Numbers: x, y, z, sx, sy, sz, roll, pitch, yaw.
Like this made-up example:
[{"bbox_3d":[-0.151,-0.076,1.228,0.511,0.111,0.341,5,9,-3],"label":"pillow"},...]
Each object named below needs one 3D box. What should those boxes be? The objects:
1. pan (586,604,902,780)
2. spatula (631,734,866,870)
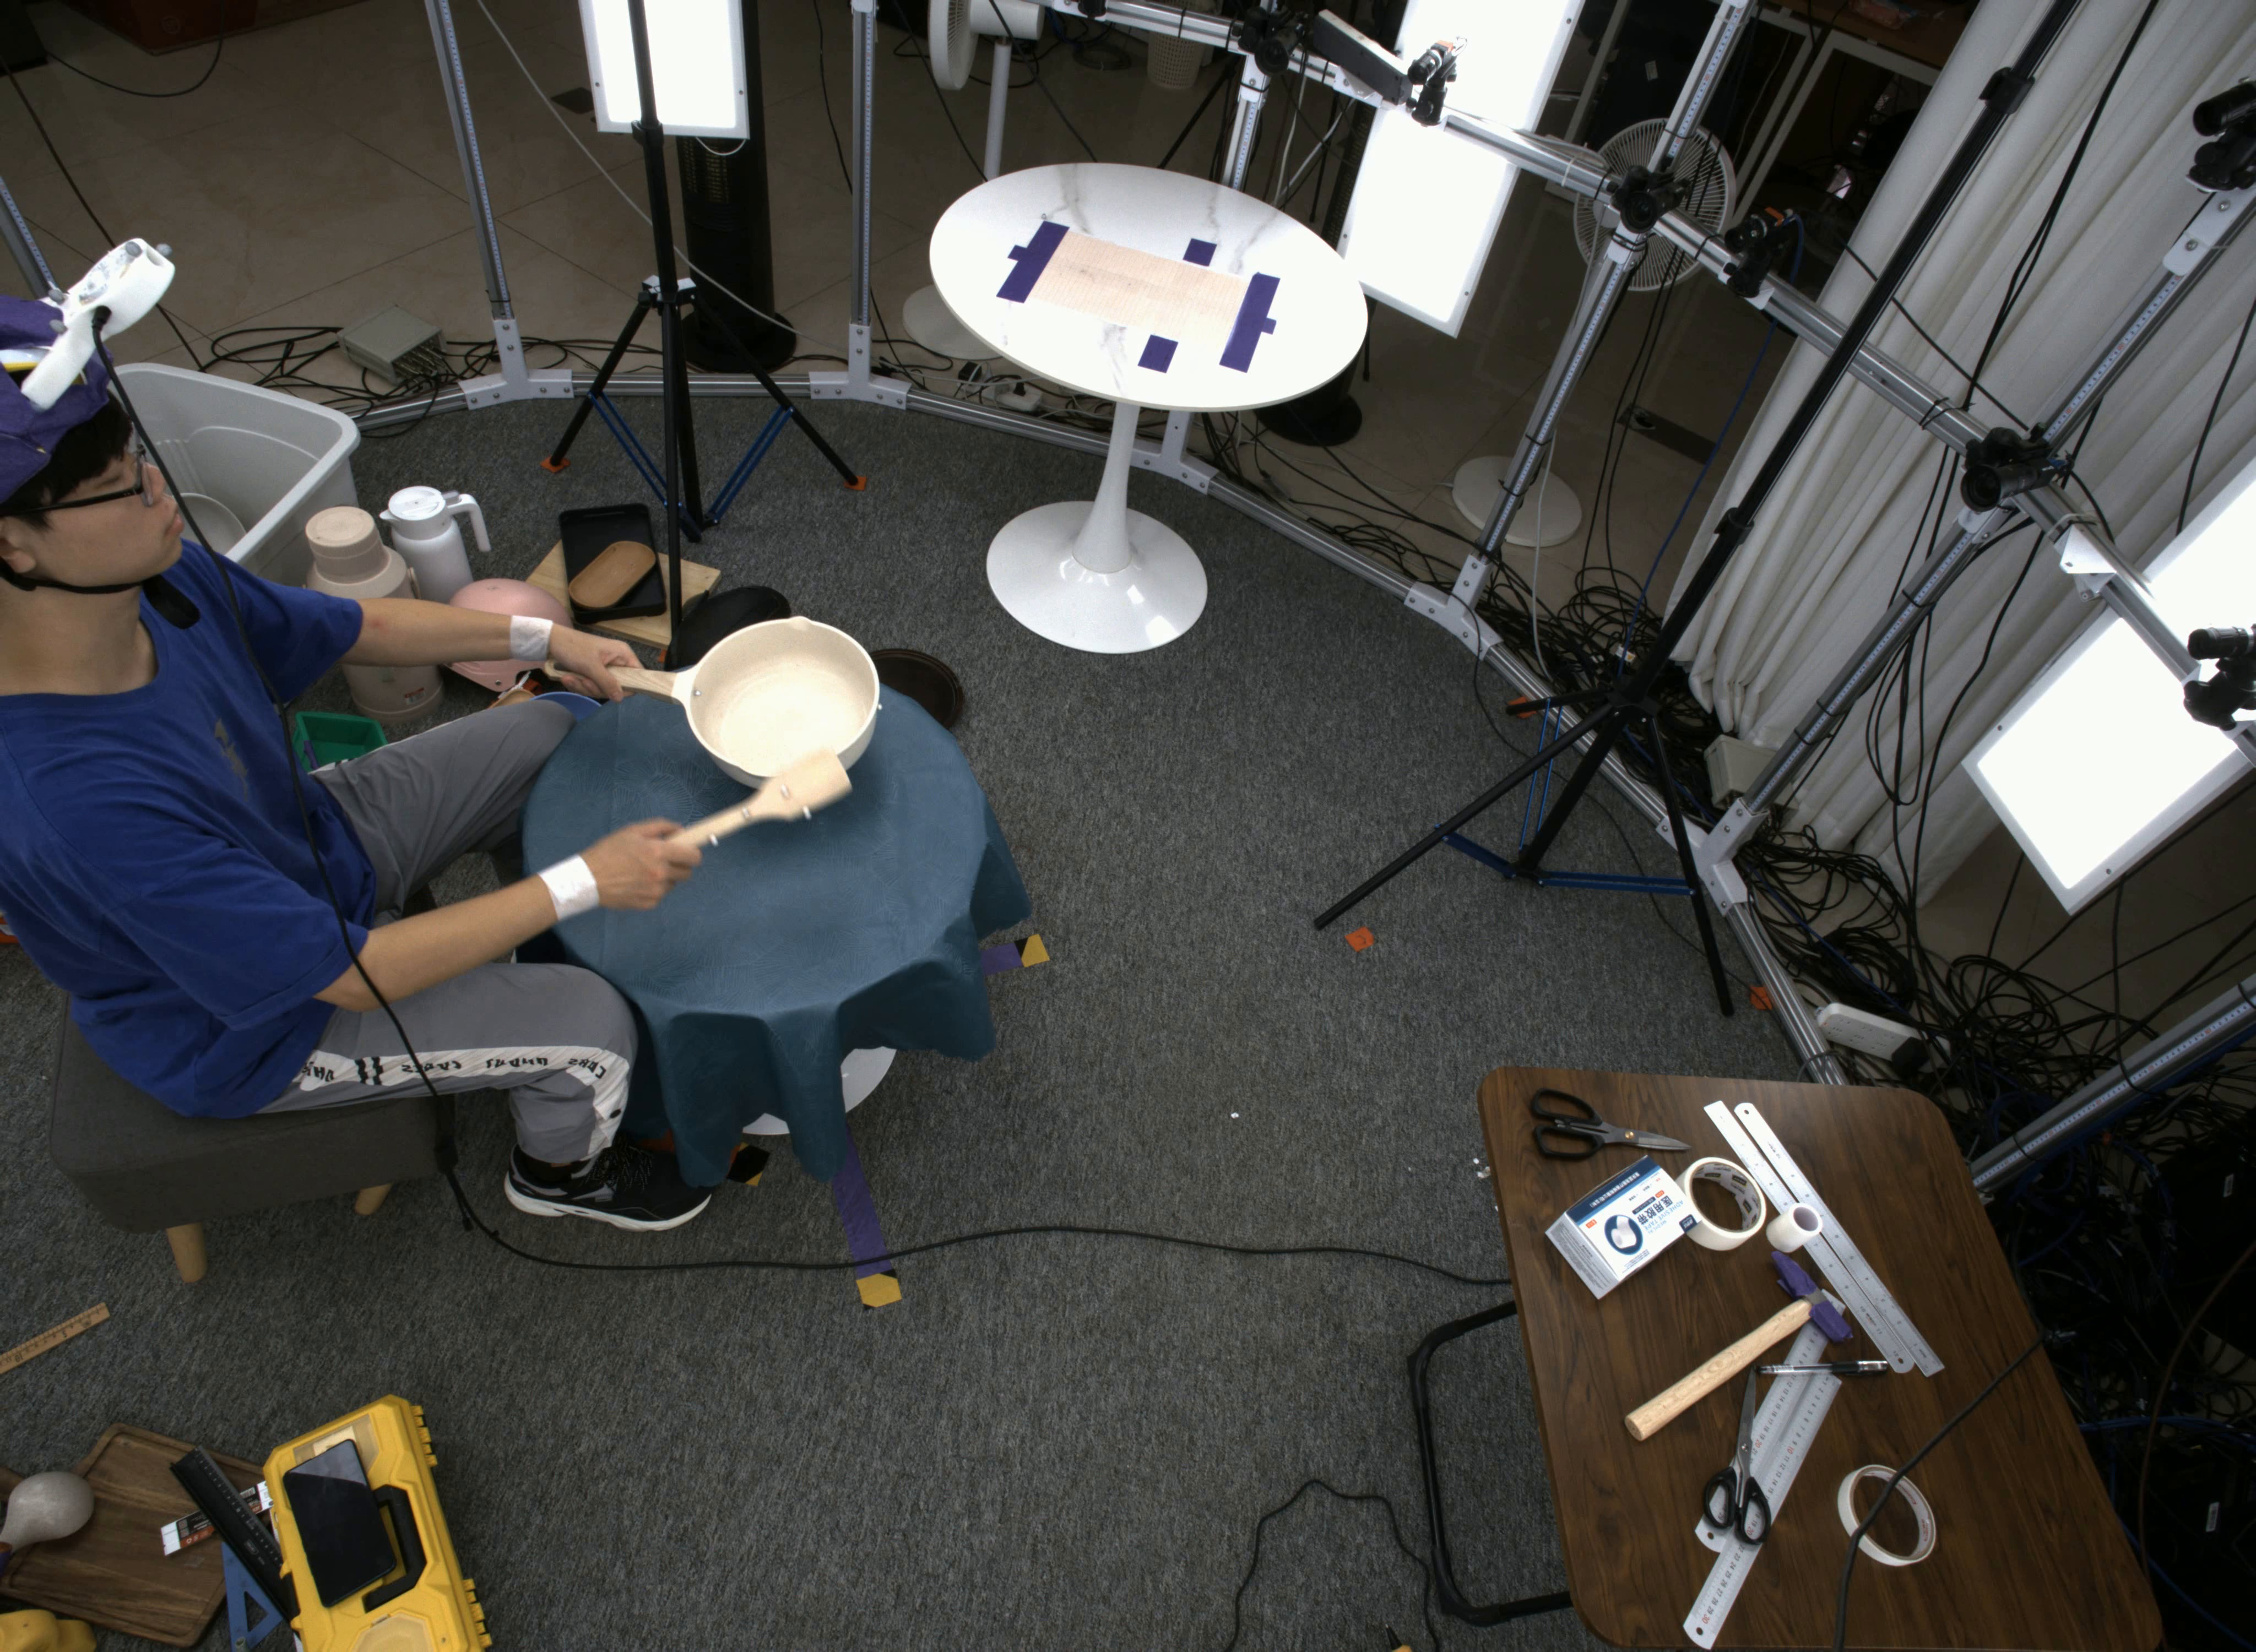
[{"bbox_3d":[-0.516,-0.177,1.731,0.431,0.104,0.260,4,61,-4],"label":"pan"},{"bbox_3d":[-0.450,-0.022,1.524,0.292,0.011,0.070,-27,64,-13],"label":"spatula"}]
